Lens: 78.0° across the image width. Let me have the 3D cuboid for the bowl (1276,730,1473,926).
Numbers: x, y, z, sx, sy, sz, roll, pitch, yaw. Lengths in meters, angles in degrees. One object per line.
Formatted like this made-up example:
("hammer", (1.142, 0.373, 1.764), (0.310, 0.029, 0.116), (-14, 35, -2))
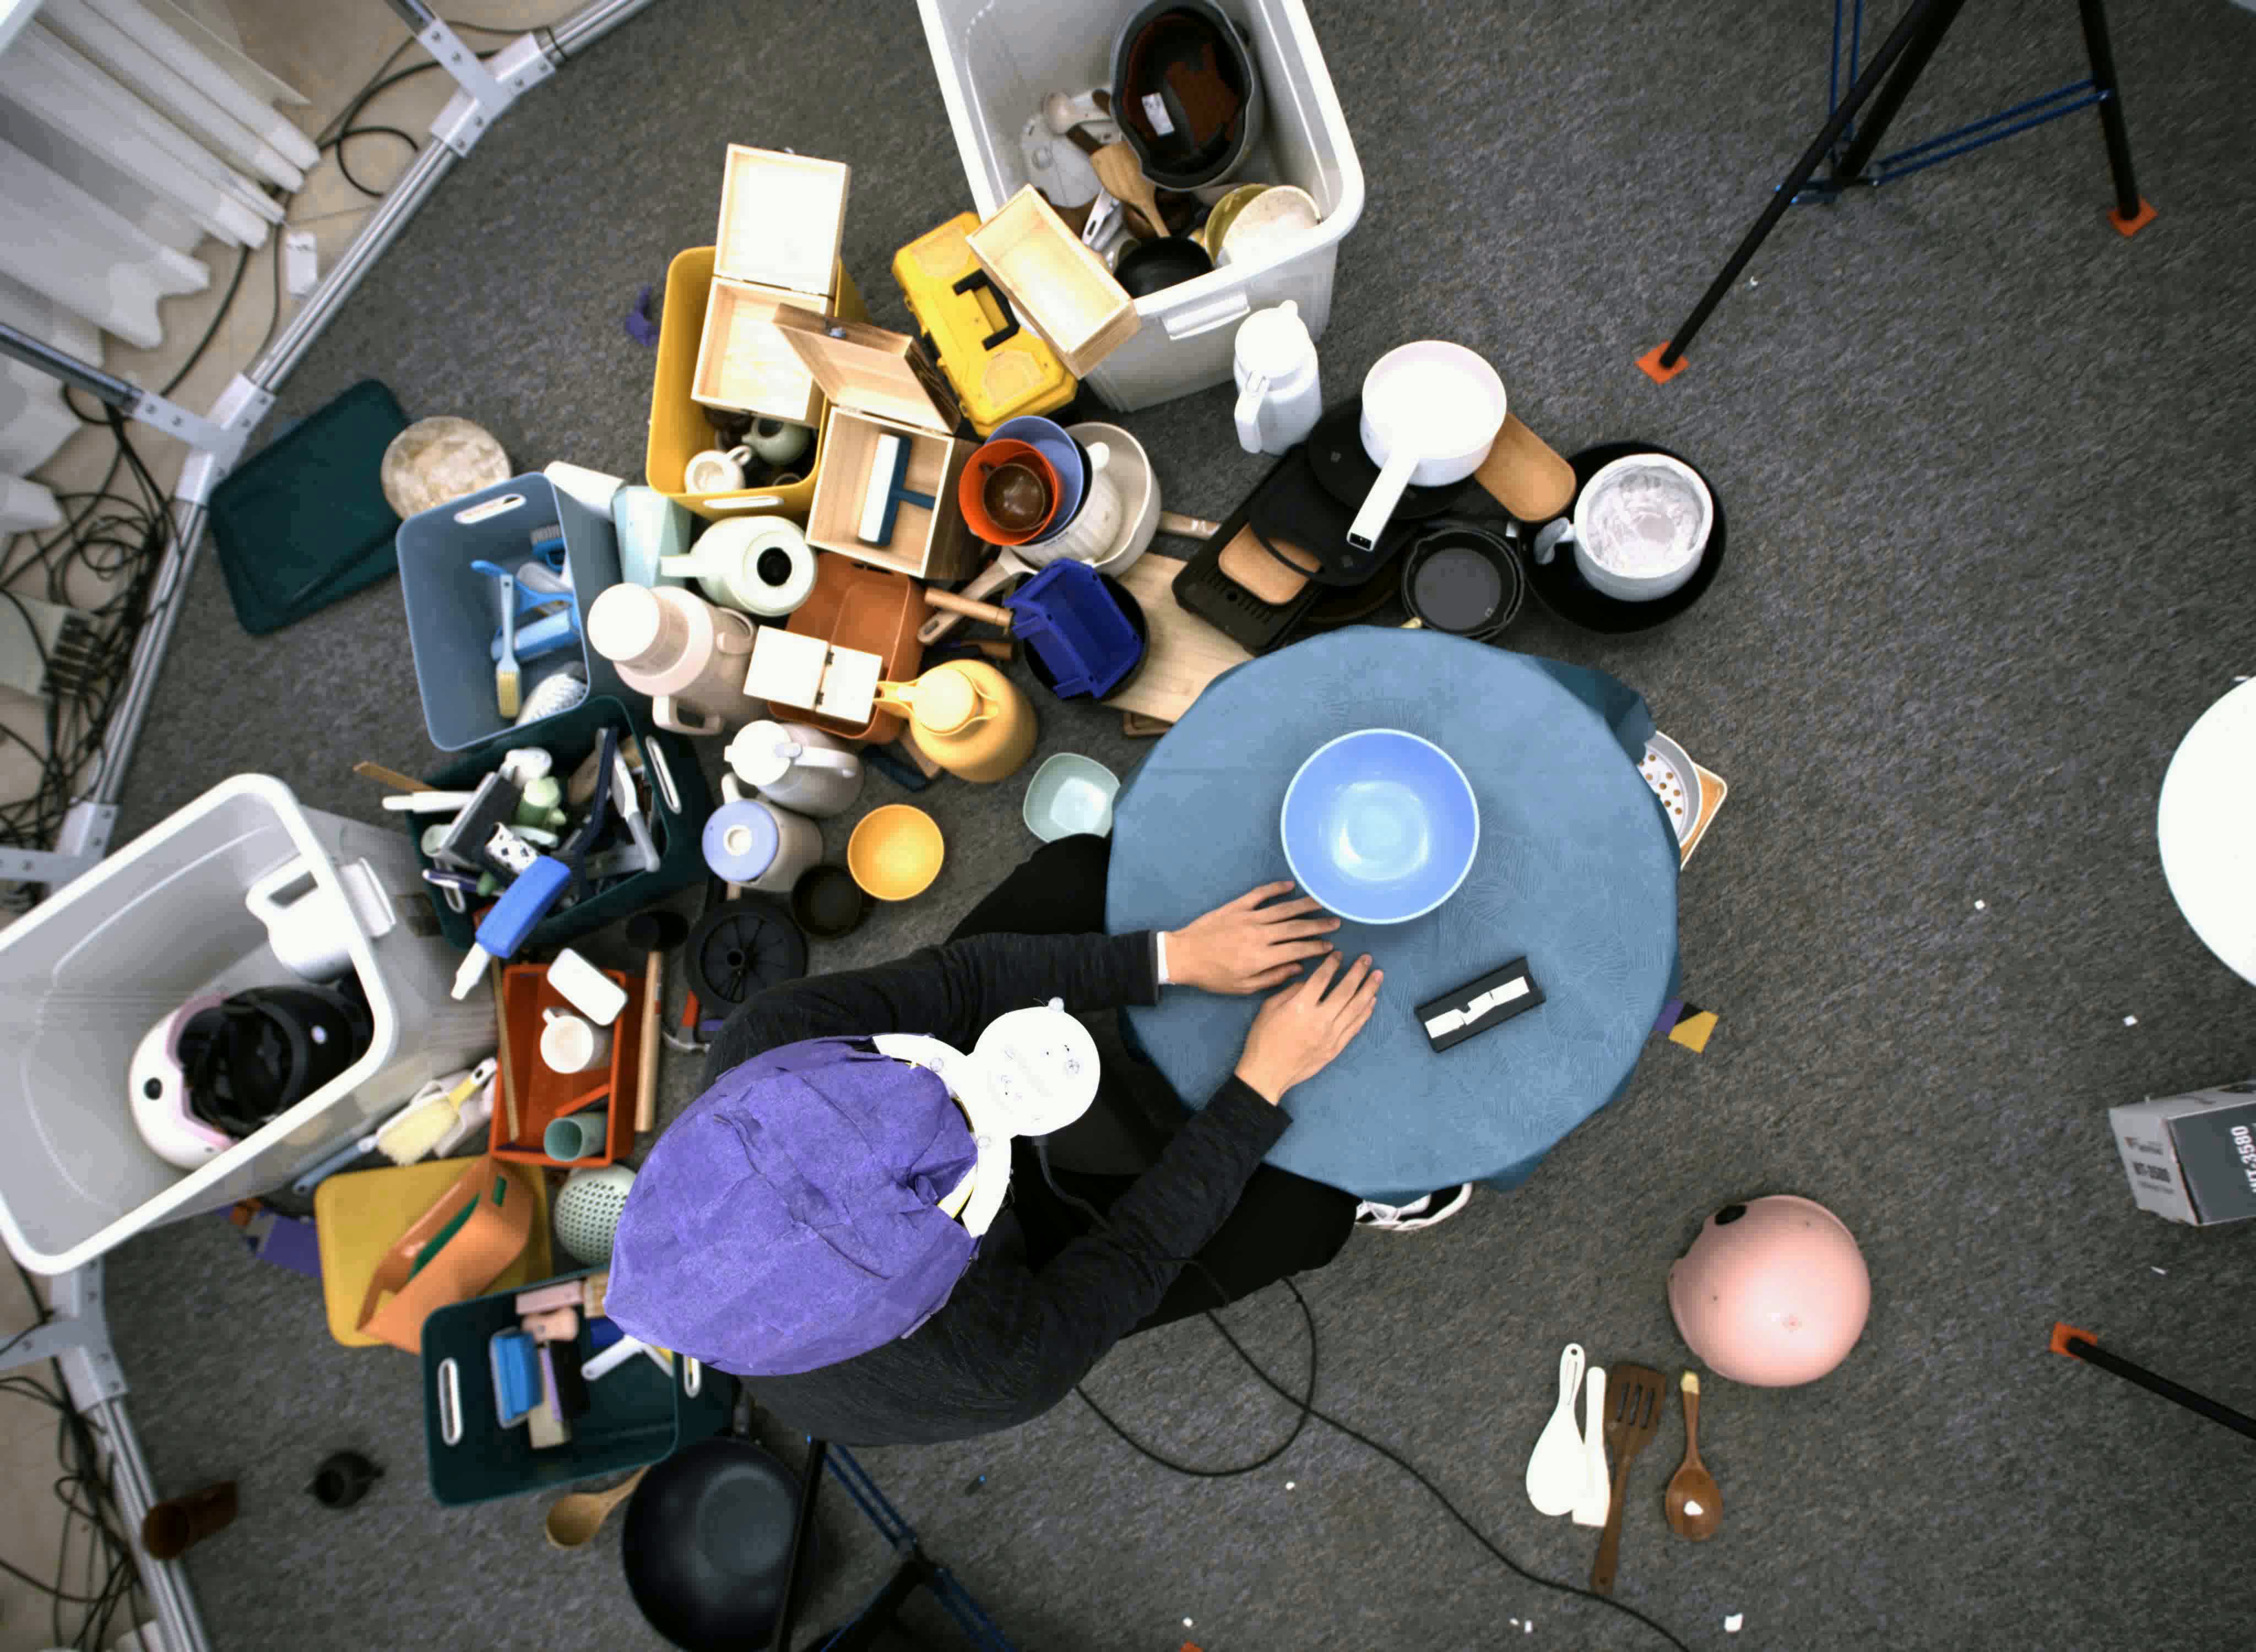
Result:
("bowl", (0.249, 0.003, 1.420), (0.197, 0.095, 0.196), (0, 90, 5))

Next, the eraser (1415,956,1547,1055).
("eraser", (0.364, 0.183, 1.422), (0.126, 0.030, 0.053), (-28, 79, 8))
